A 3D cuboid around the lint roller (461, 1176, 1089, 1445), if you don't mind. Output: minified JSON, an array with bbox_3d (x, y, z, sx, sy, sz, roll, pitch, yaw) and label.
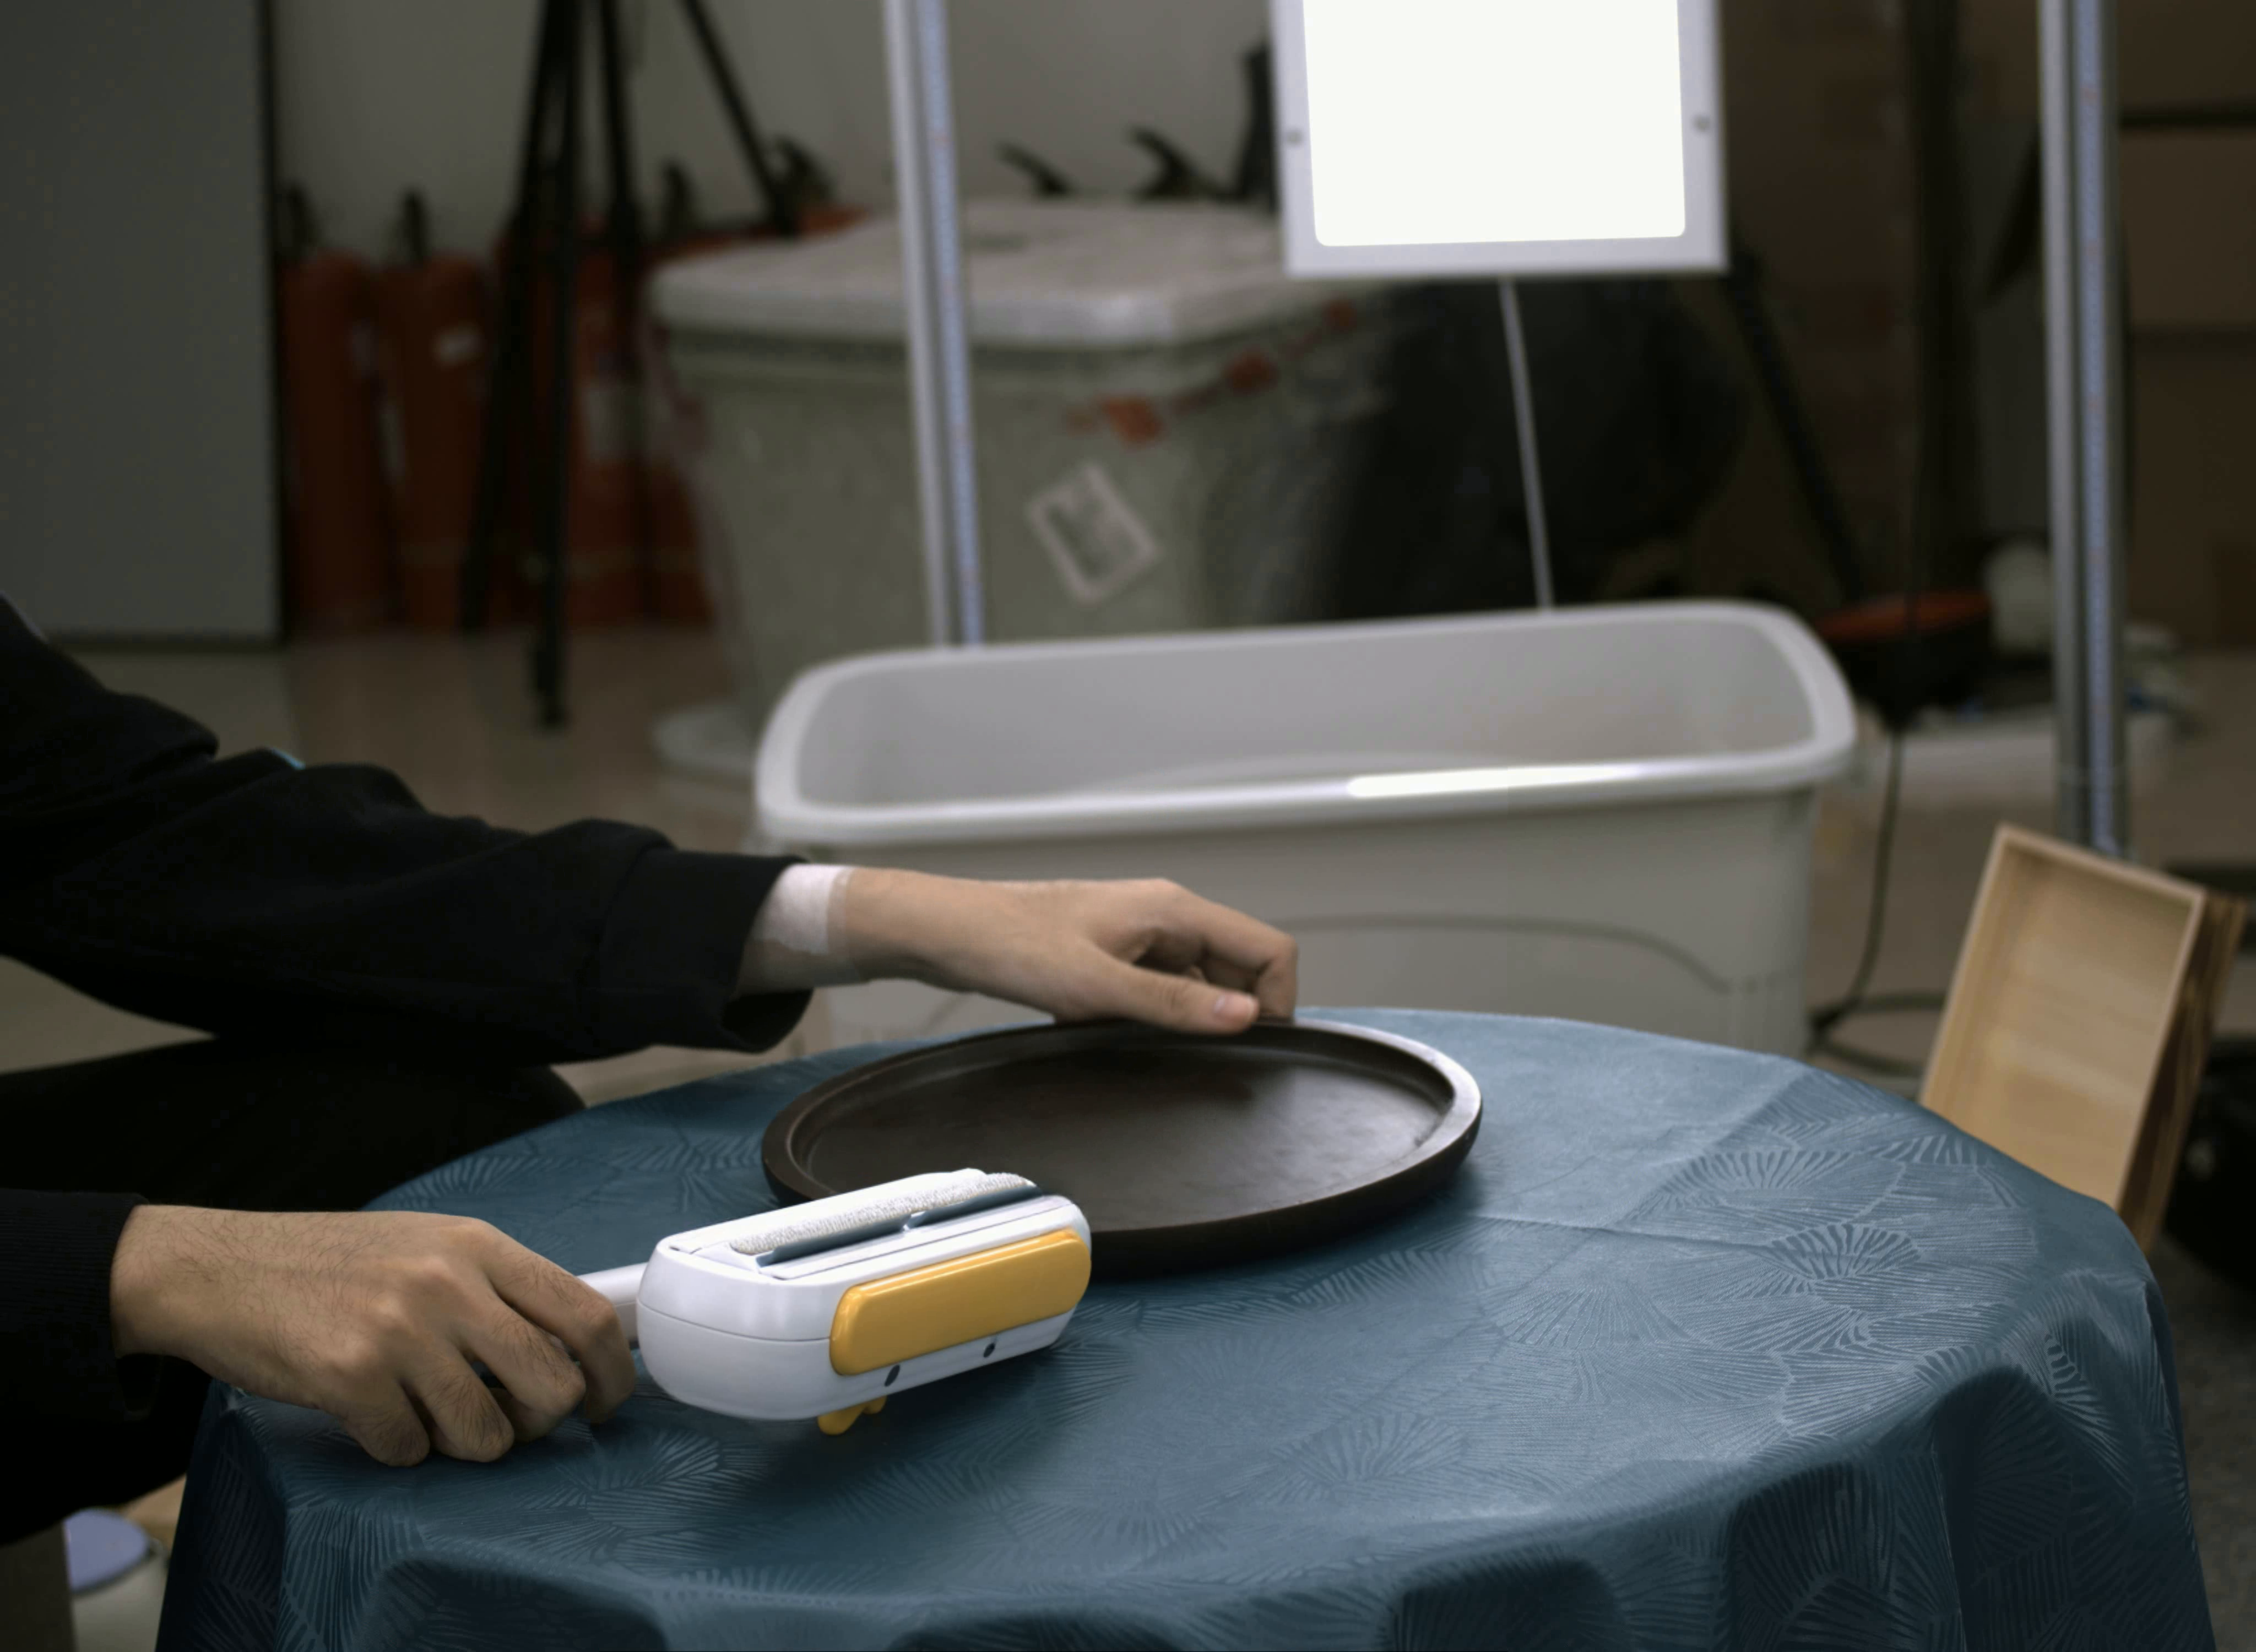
[{"bbox_3d":[-0.130,0.148,1.716,0.196,0.074,0.188,3,10,35],"label":"lint roller"}]

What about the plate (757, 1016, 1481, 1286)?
[{"bbox_3d":[-0.002,0.111,1.912,0.254,0.029,0.254,-6,13,0],"label":"plate"}]
